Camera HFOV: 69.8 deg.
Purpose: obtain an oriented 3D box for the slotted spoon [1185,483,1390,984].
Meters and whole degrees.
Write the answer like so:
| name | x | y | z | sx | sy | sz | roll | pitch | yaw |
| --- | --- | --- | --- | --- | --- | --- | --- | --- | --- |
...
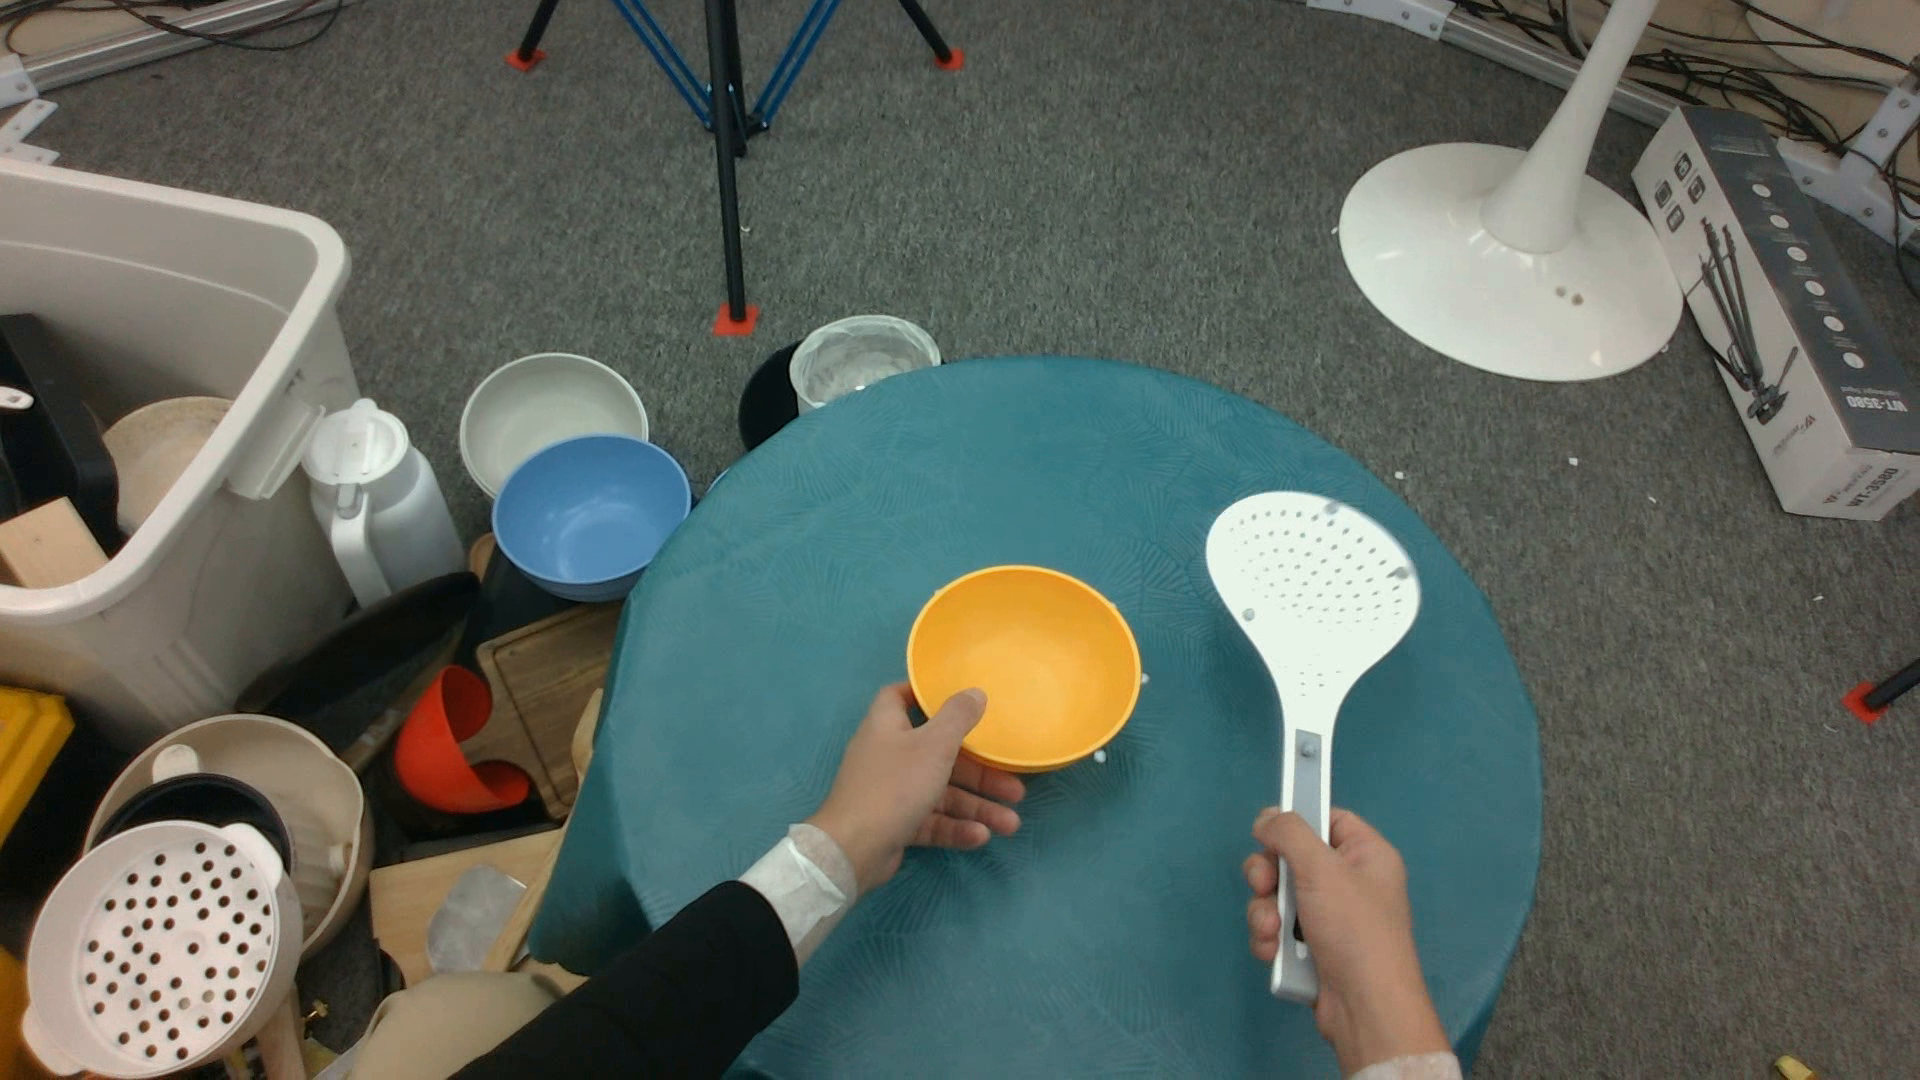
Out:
| name | x | y | z | sx | sy | sz | roll | pitch | yaw |
| --- | --- | --- | --- | --- | --- | --- | --- | --- | --- |
| slotted spoon | 0.192 | 0.098 | 0.823 | 0.136 | 0.045 | 0.351 | 13 | 44 | 0 |

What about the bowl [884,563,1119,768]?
| name | x | y | z | sx | sy | sz | roll | pitch | yaw |
| --- | --- | --- | --- | --- | --- | --- | --- | --- | --- |
| bowl | 0.024 | 0.088 | 0.860 | 0.145 | 0.060 | 0.146 | 2 | 51 | -3 |
